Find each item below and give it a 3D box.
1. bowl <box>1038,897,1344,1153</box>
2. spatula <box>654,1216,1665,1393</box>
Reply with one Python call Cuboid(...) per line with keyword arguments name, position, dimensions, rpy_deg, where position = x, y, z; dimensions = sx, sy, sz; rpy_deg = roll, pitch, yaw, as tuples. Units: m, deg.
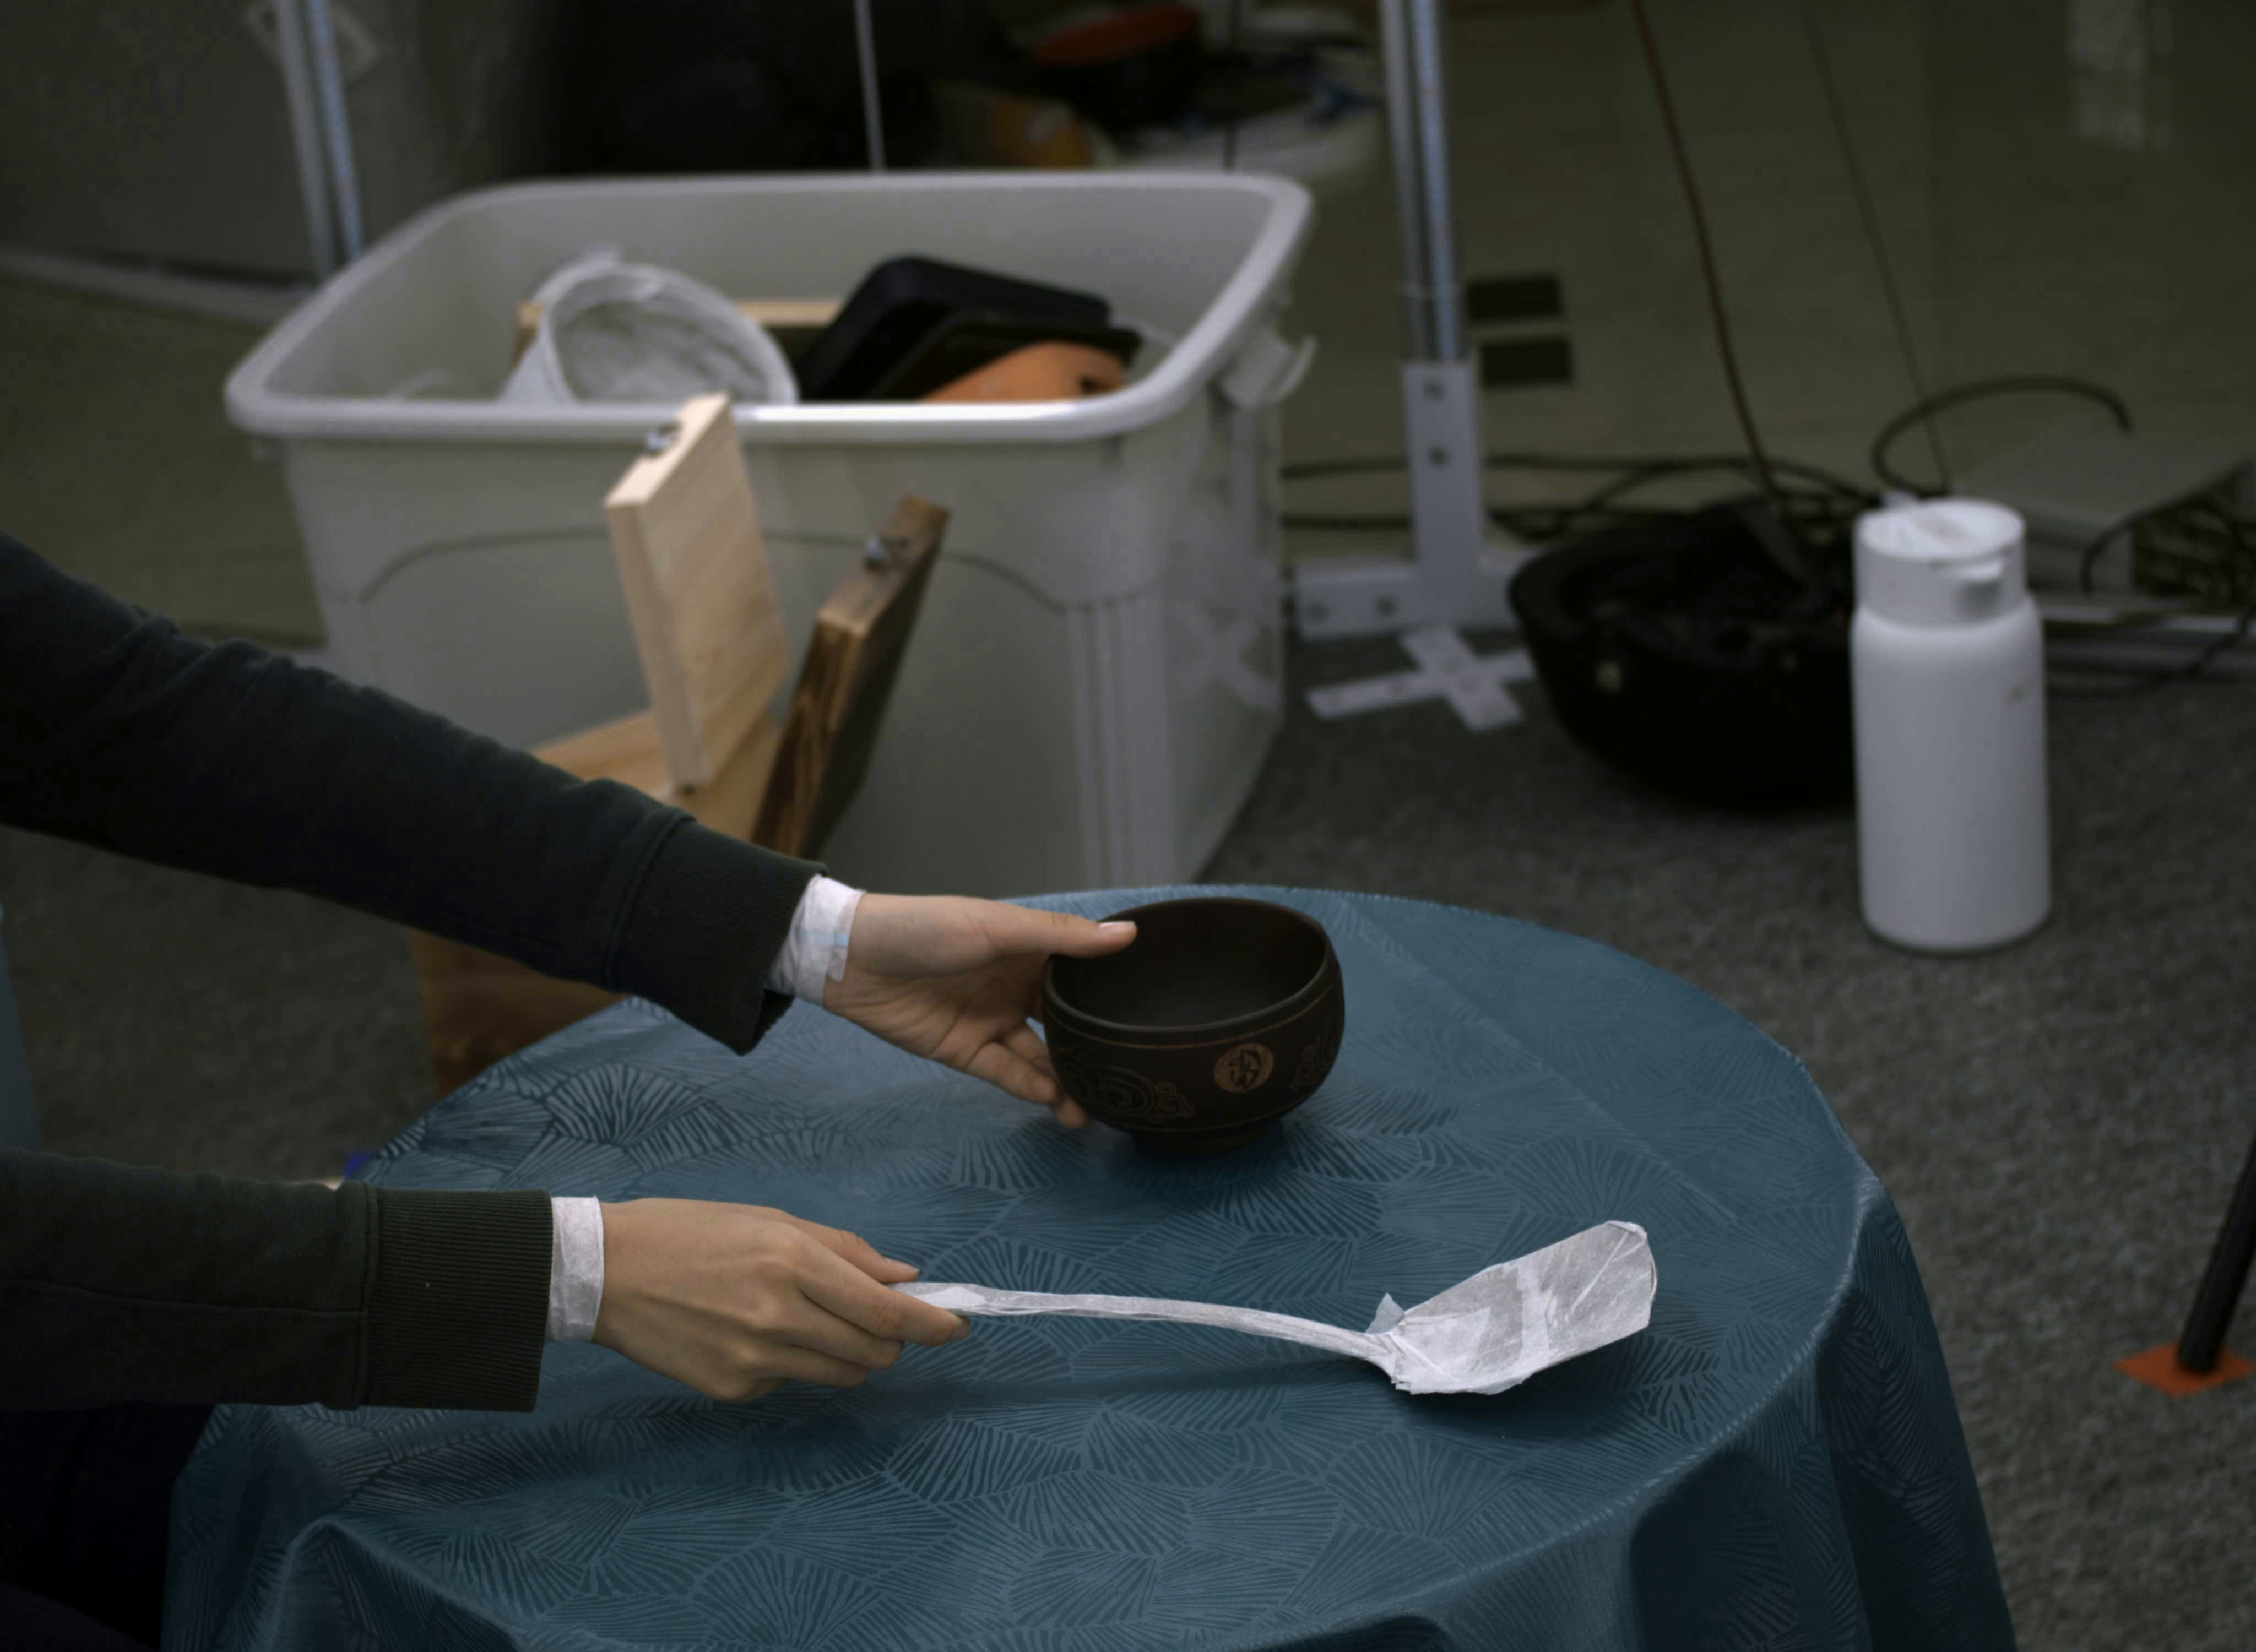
Cuboid(name="bowl", position=(0.026, 0.082, 2.181), dimensions=(0.118, 0.071, 0.116), rpy_deg=(-5, 24, 2))
Cuboid(name="spatula", position=(0.007, 0.167, 2.020), dimensions=(0.364, 0.045, 0.097), rpy_deg=(3, 25, 6))
